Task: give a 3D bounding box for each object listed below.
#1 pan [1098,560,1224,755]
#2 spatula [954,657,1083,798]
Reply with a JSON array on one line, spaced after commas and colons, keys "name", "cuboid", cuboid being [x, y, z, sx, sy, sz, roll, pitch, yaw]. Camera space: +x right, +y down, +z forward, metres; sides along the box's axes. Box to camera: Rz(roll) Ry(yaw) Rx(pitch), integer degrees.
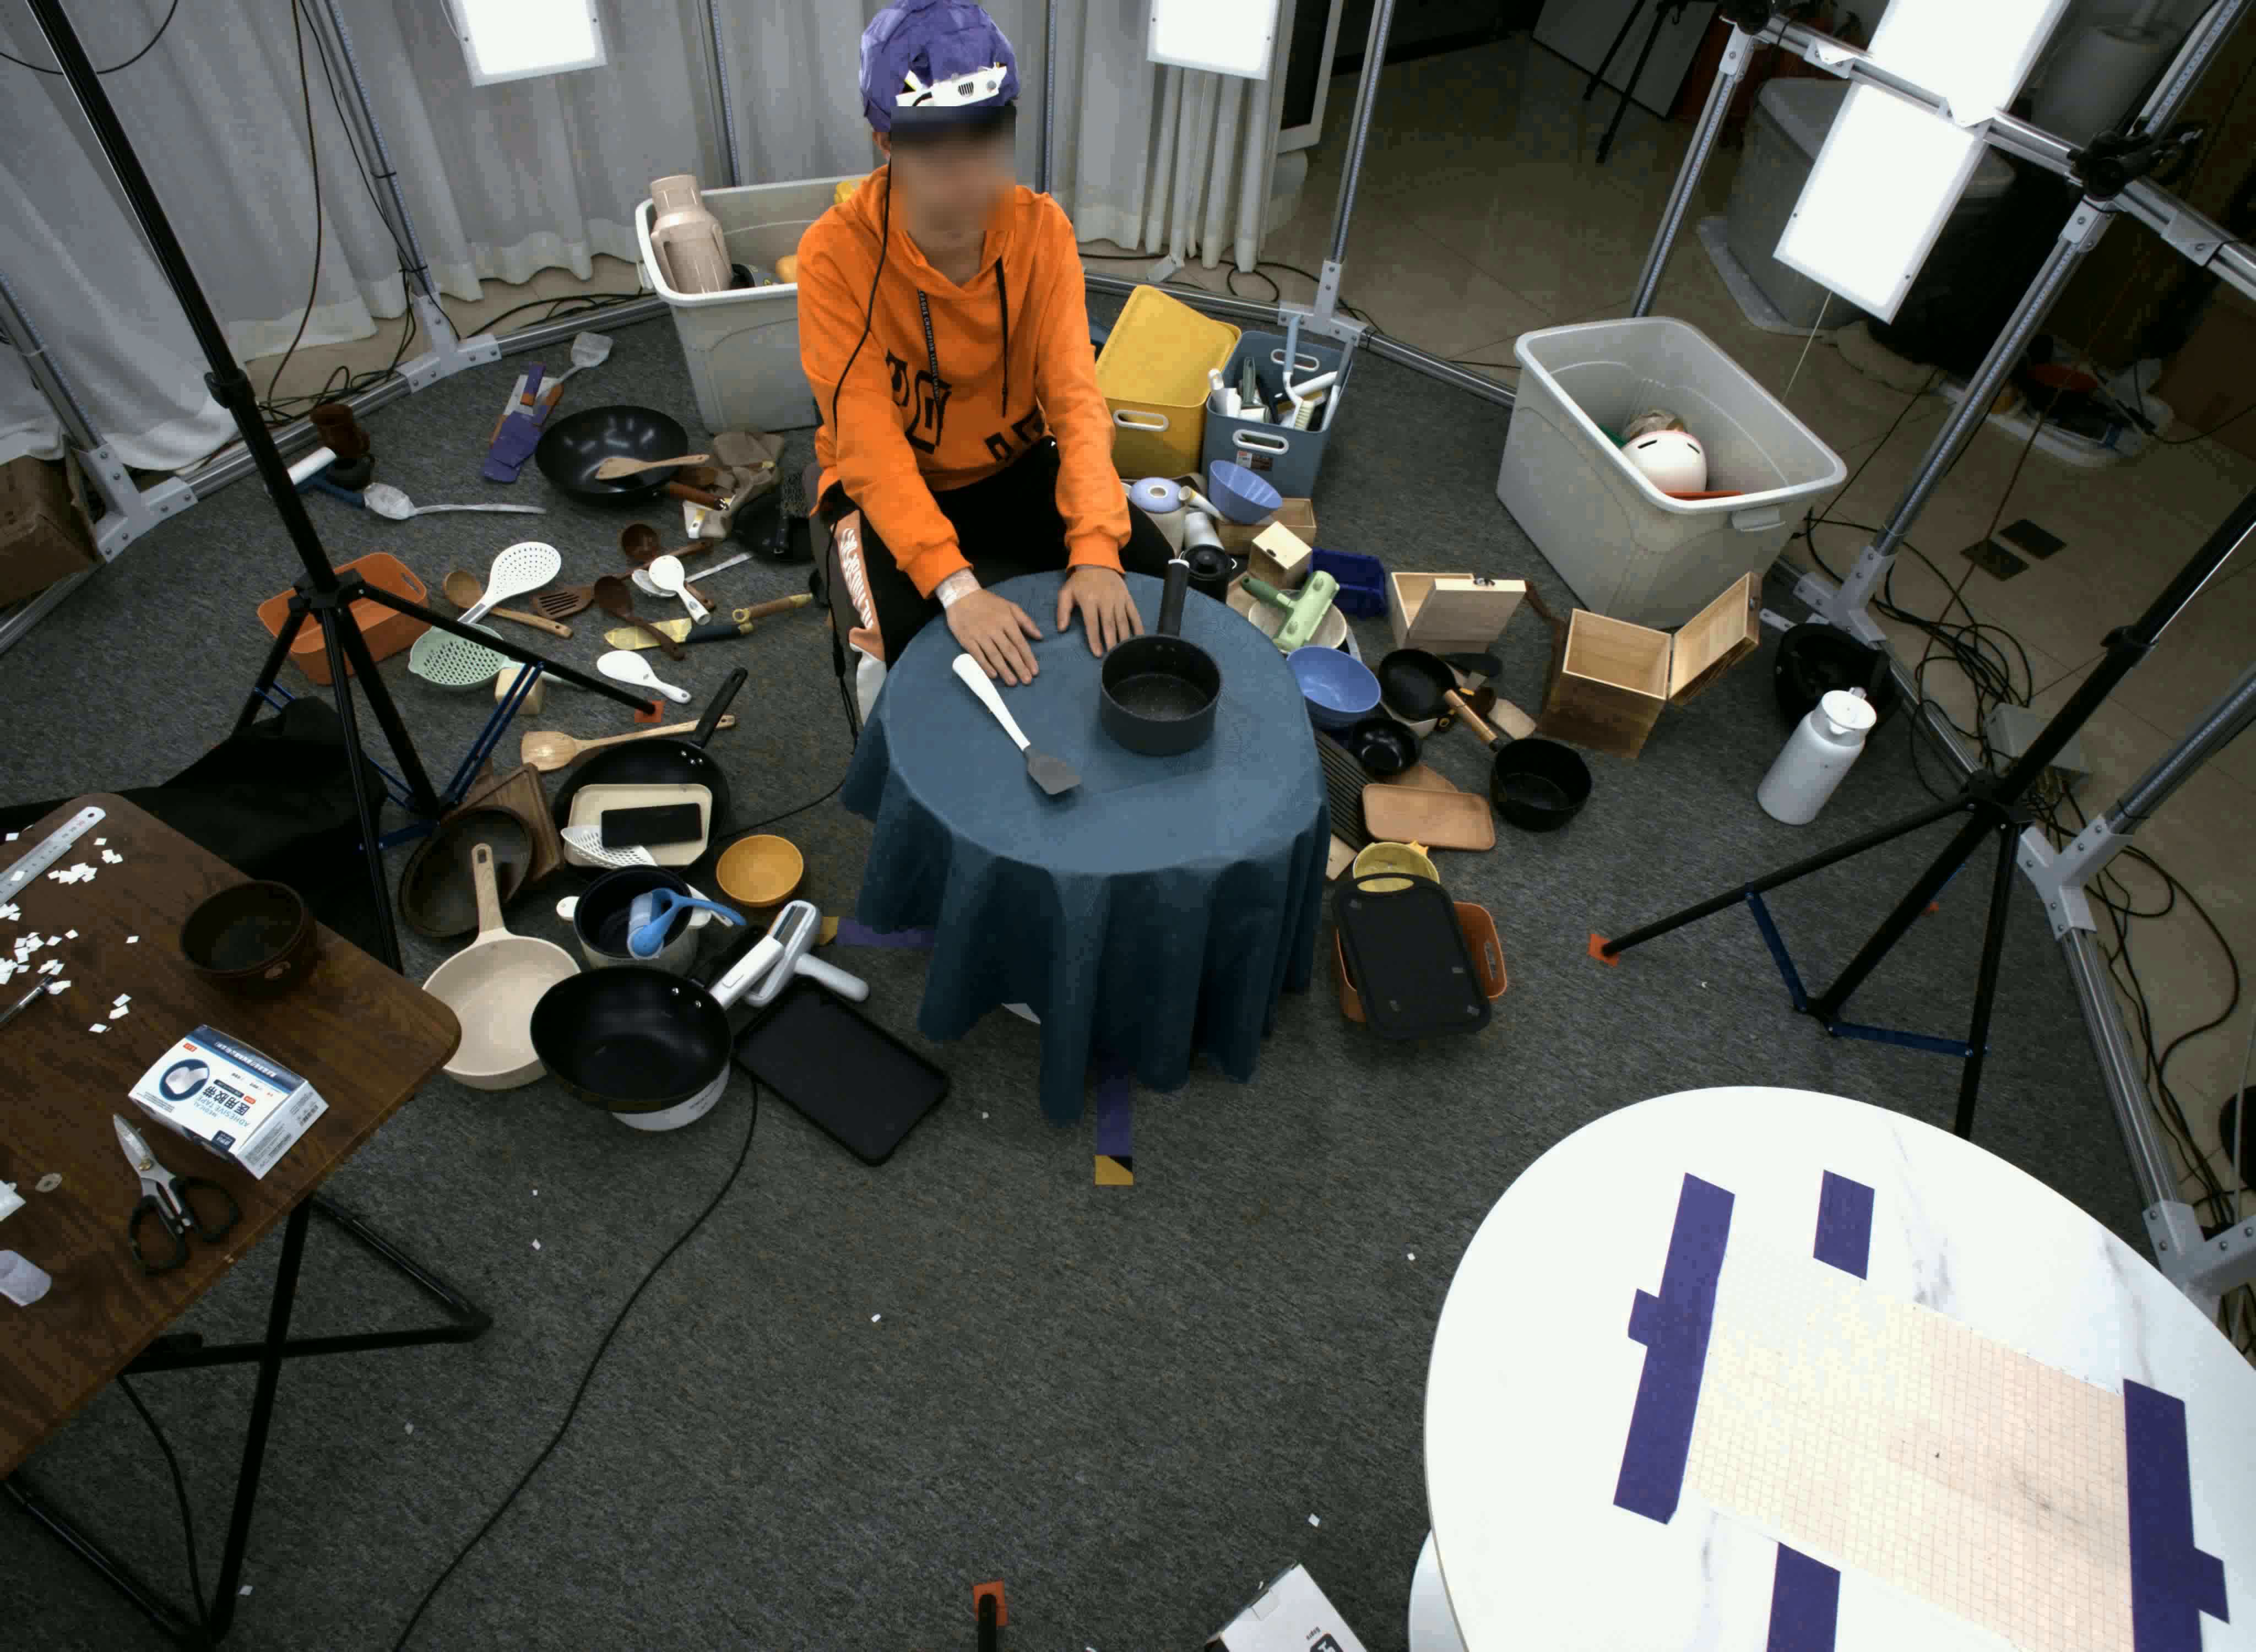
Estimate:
[{"name": "pan", "cuboid": [0.056, -0.244, 1.829, 0.172, 0.084, 0.336, 10, 51, 4]}, {"name": "spatula", "cuboid": [-0.156, -0.135, 1.755, 0.059, 0.031, 0.293, -22, 53, -25]}]
